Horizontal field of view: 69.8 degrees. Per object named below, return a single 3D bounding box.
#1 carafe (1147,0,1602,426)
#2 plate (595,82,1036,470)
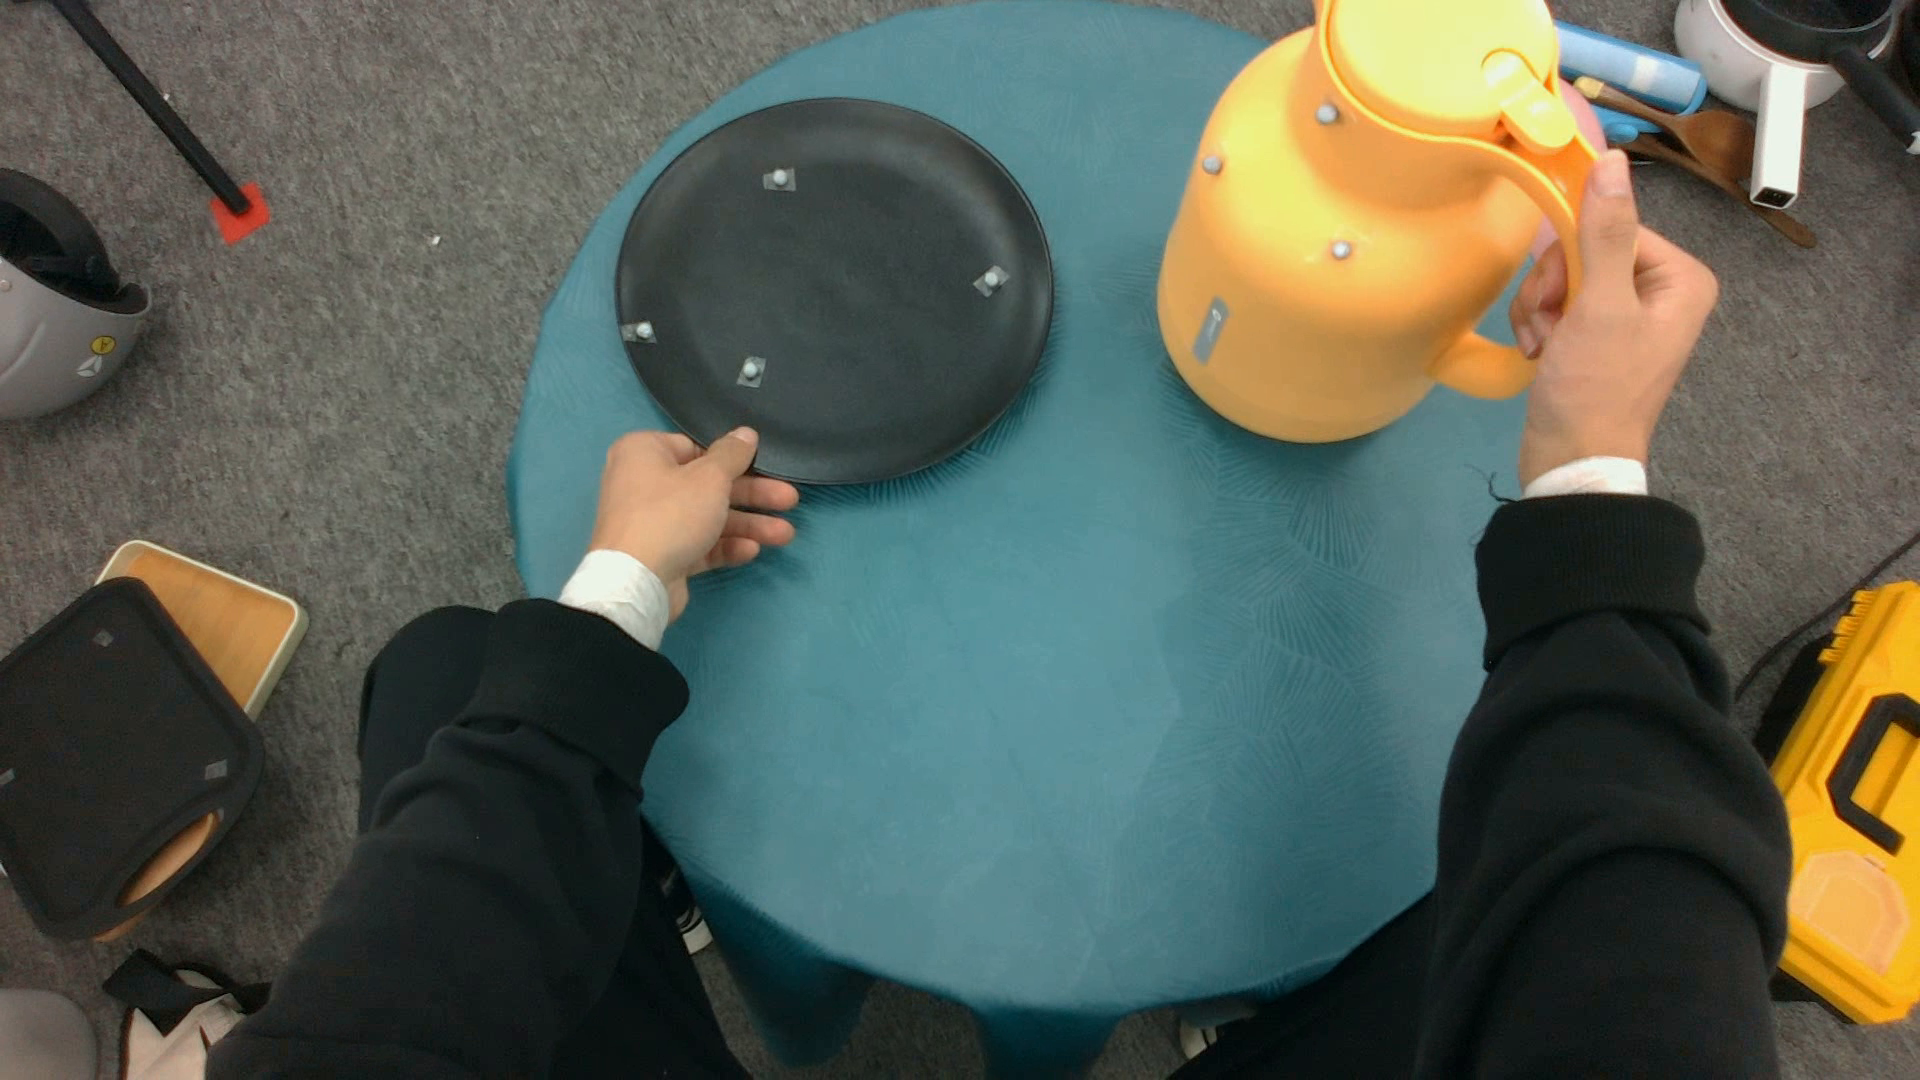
[{"bbox_3d":[0.192,-0.156,0.658,0.164,0.259,0.202,-35,73,-10],"label":"carafe"},{"bbox_3d":[-0.080,-0.149,0.770,0.244,0.023,0.245,1,70,-2],"label":"plate"}]
